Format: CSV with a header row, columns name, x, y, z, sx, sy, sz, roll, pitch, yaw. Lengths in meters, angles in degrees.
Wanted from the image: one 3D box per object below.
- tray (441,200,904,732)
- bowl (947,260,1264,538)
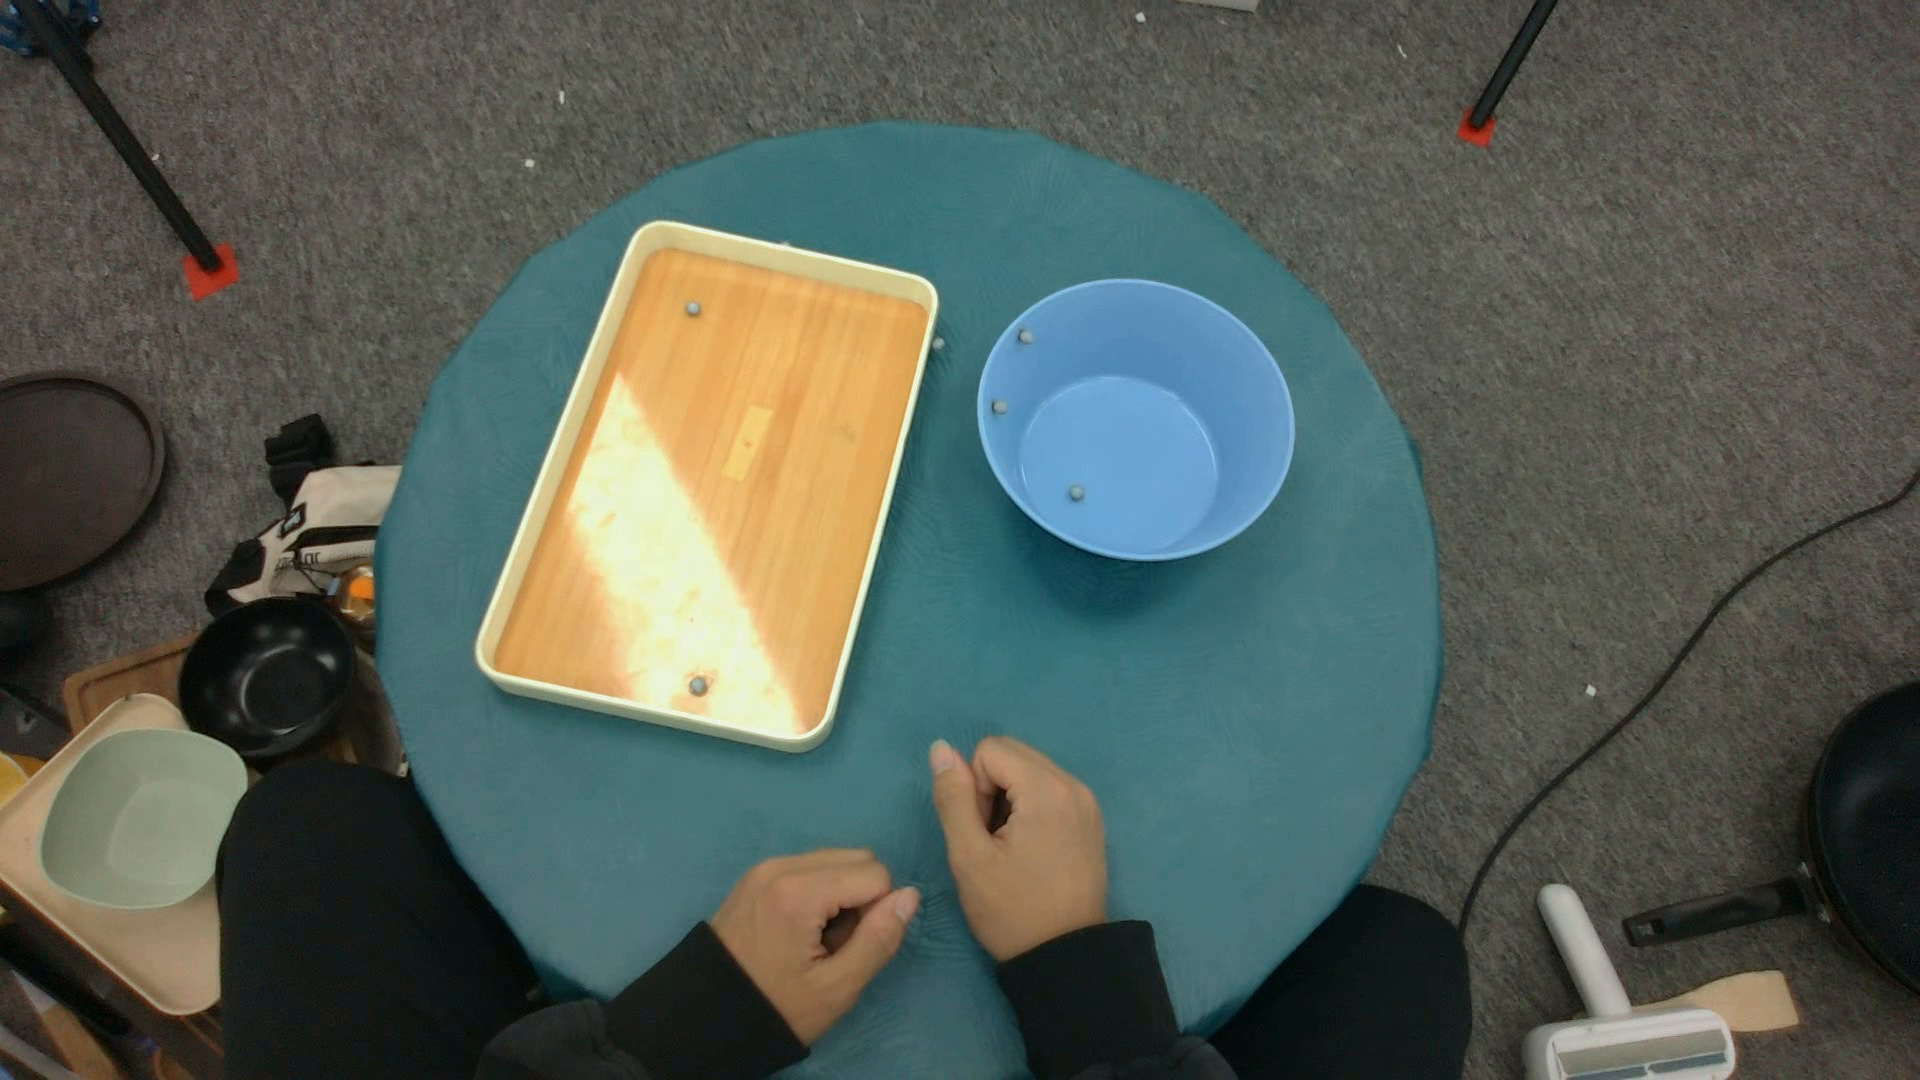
name,x,y,z,sx,sy,sz,roll,pitch,yaw
tray,-0.152,-0.052,0.778,0.191,0.027,0.301,12,65,1
bowl,0.078,-0.068,0.783,0.176,0.070,0.176,2,65,-4
